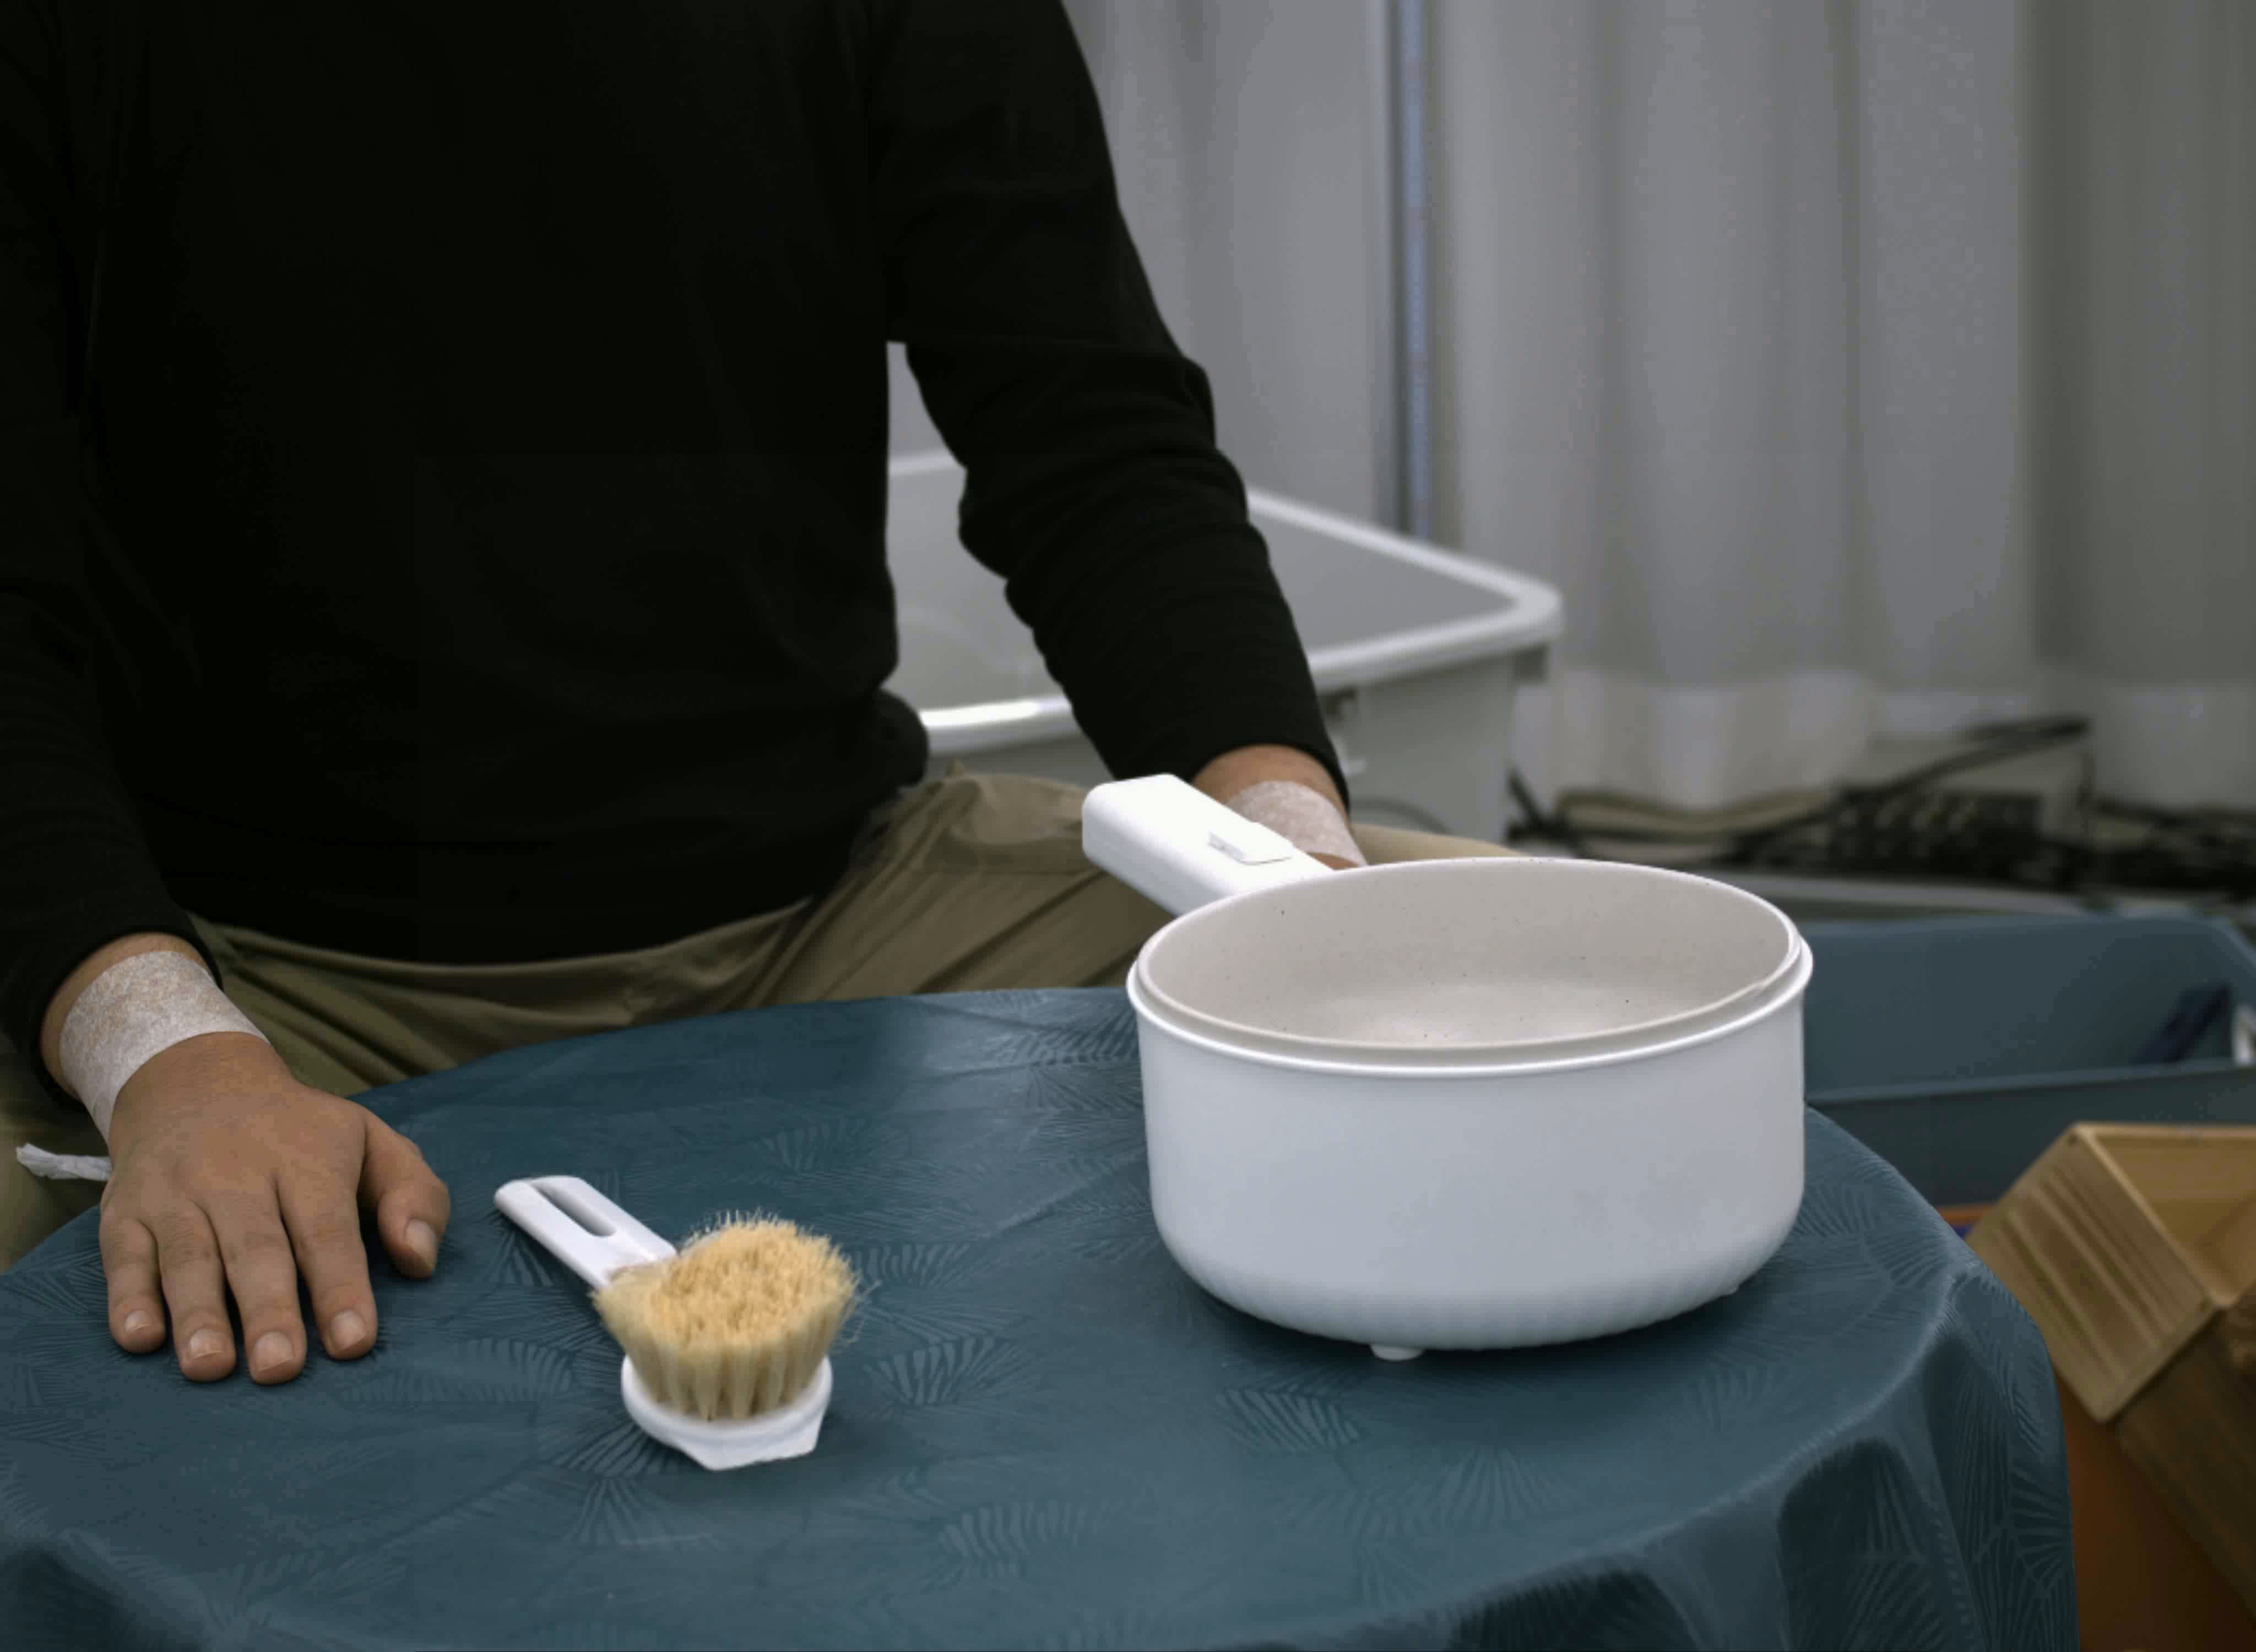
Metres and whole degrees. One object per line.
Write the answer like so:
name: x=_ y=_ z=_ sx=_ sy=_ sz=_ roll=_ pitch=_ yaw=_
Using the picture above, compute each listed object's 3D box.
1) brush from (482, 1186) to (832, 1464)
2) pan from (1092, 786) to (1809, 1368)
brush: x=-0.151 y=0.122 z=1.612 sx=0.068 sy=0.056 sz=0.268 roll=-3 pitch=13 yaw=-19
pan: x=0.073 y=0.070 z=1.685 sx=0.200 sy=0.102 sz=0.357 roll=-10 pitch=15 yaw=-21
